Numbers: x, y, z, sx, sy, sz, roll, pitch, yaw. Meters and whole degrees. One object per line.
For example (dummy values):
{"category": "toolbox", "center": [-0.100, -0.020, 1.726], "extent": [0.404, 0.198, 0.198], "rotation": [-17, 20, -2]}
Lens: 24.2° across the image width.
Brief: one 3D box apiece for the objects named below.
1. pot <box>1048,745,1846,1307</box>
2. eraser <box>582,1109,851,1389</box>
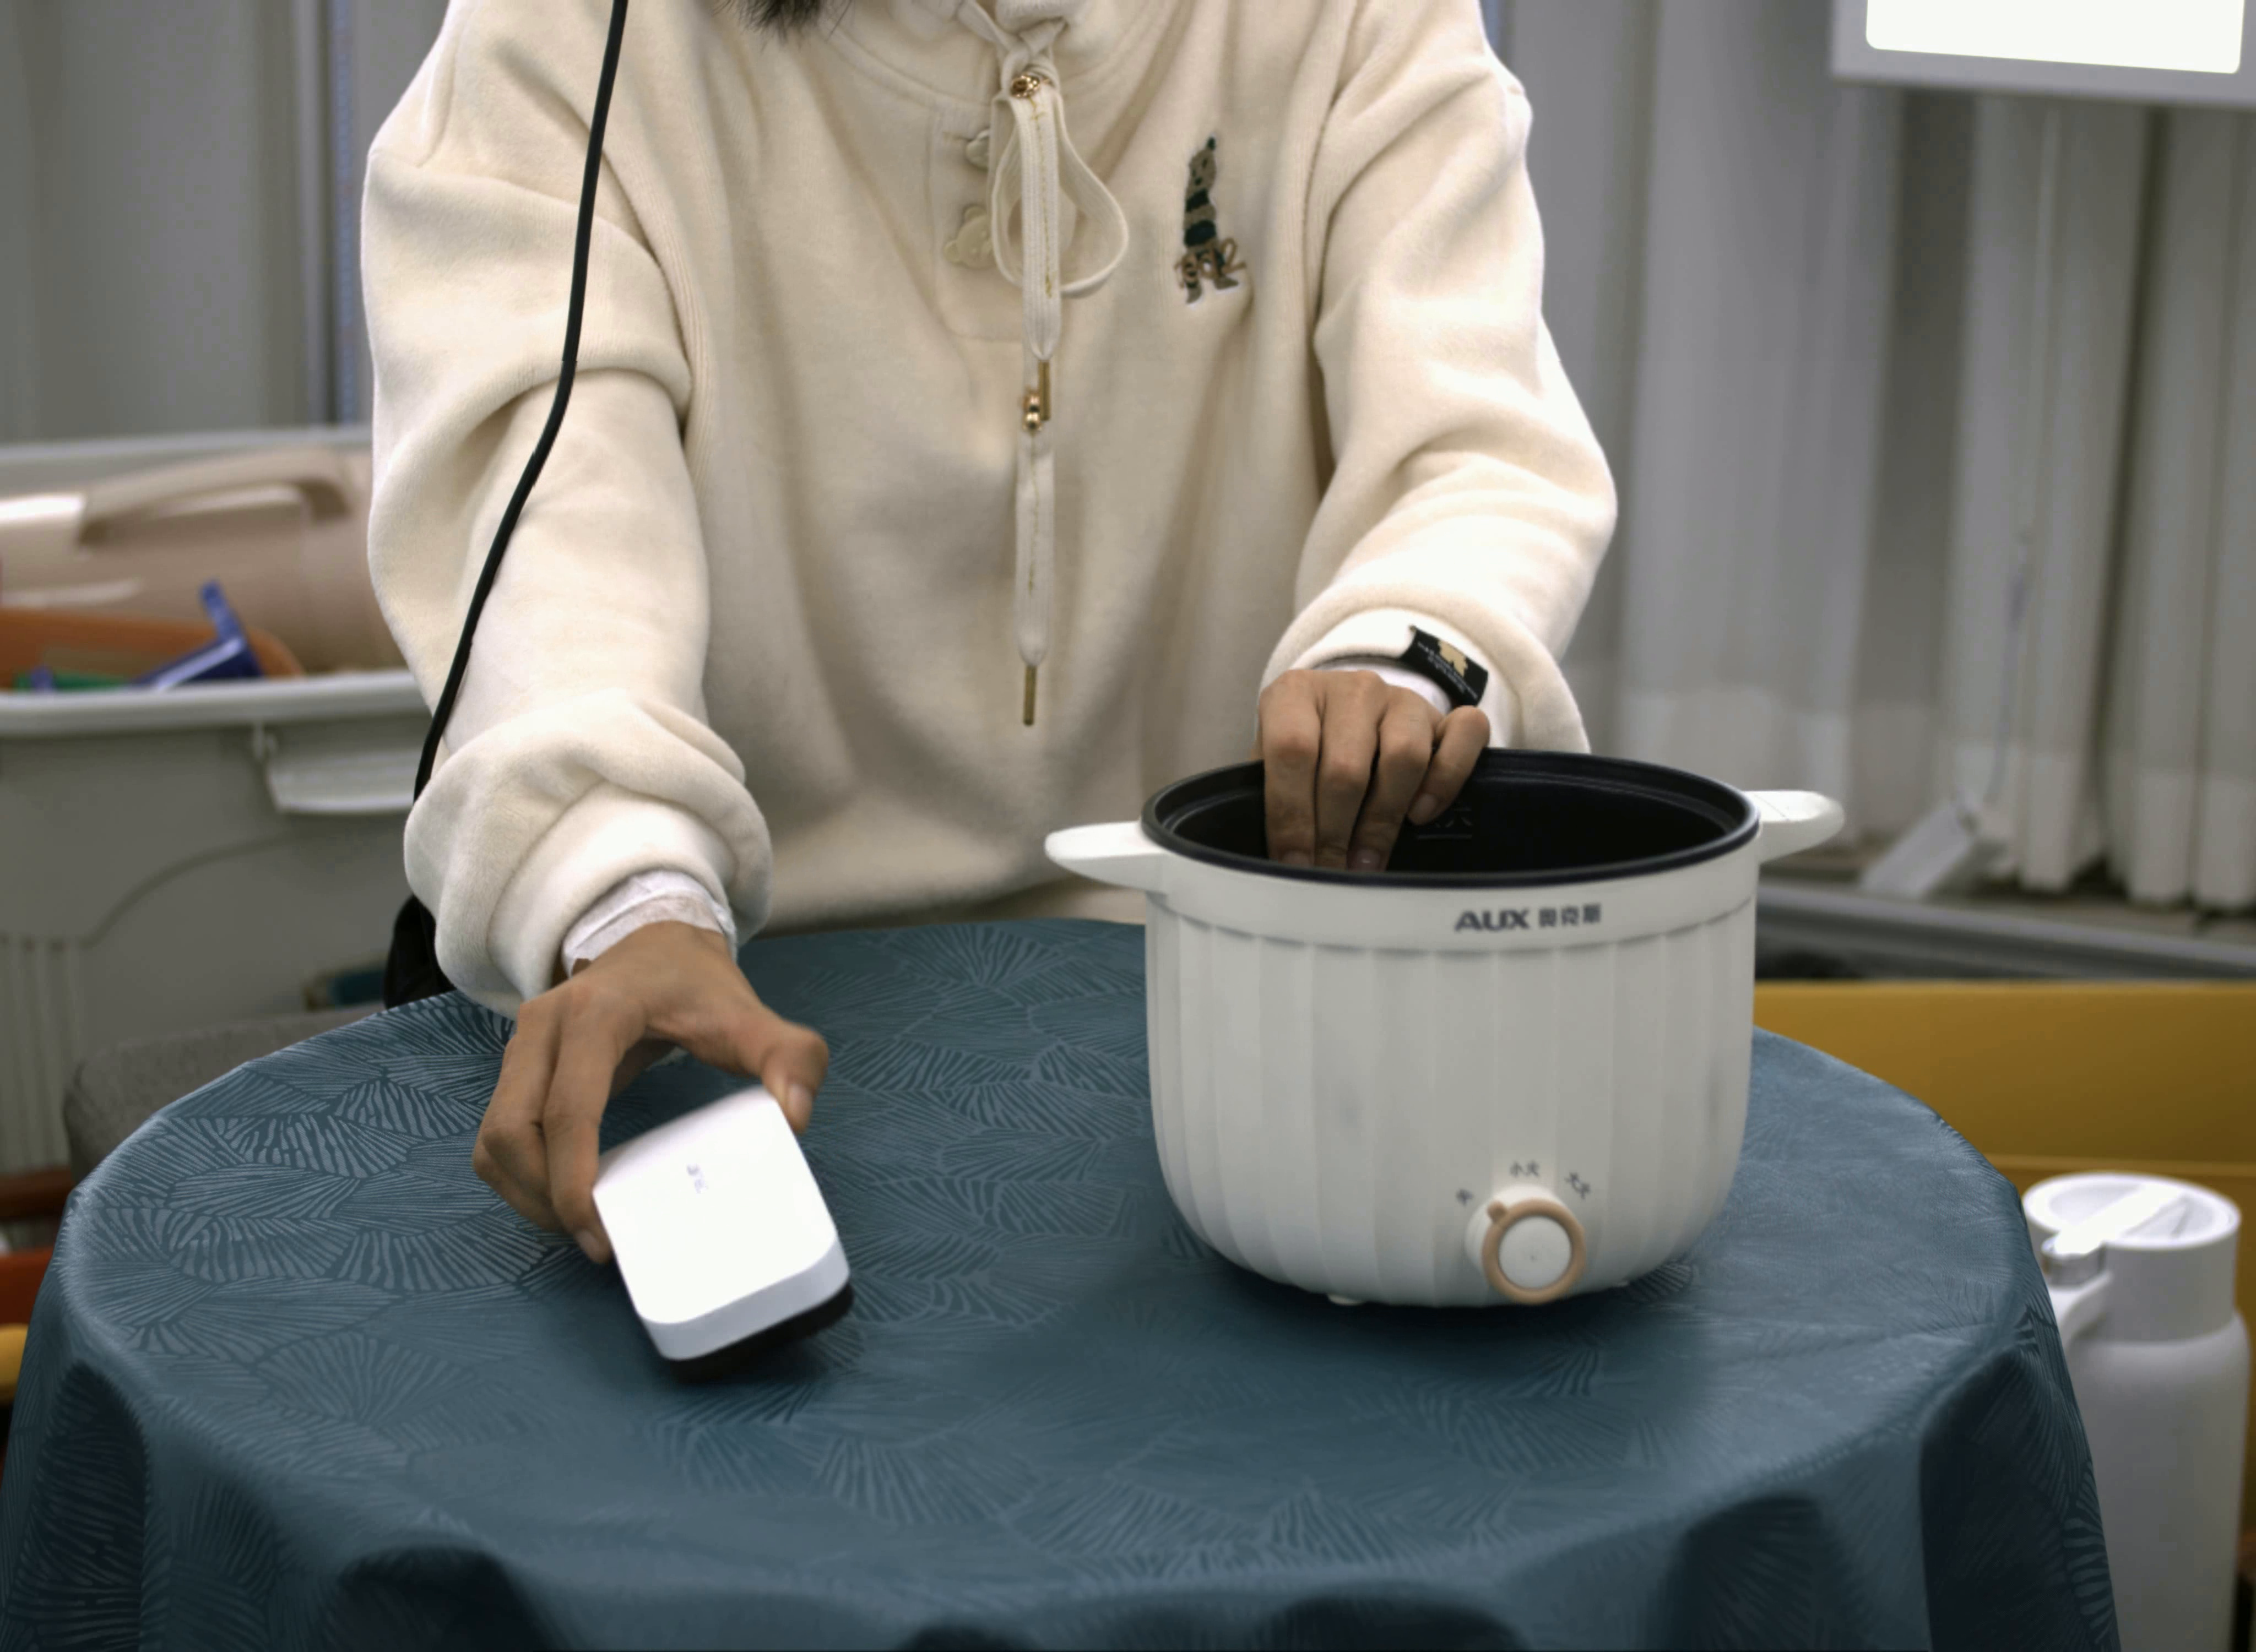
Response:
{"category": "pot", "center": [0.097, 0.060, 1.541], "extent": [0.240, 0.143, 0.189], "rotation": [-4, 11, -12]}
{"category": "eraser", "center": [-0.117, 0.117, 1.510], "extent": [0.063, 0.035, 0.130], "rotation": [-19, 22, -8]}
